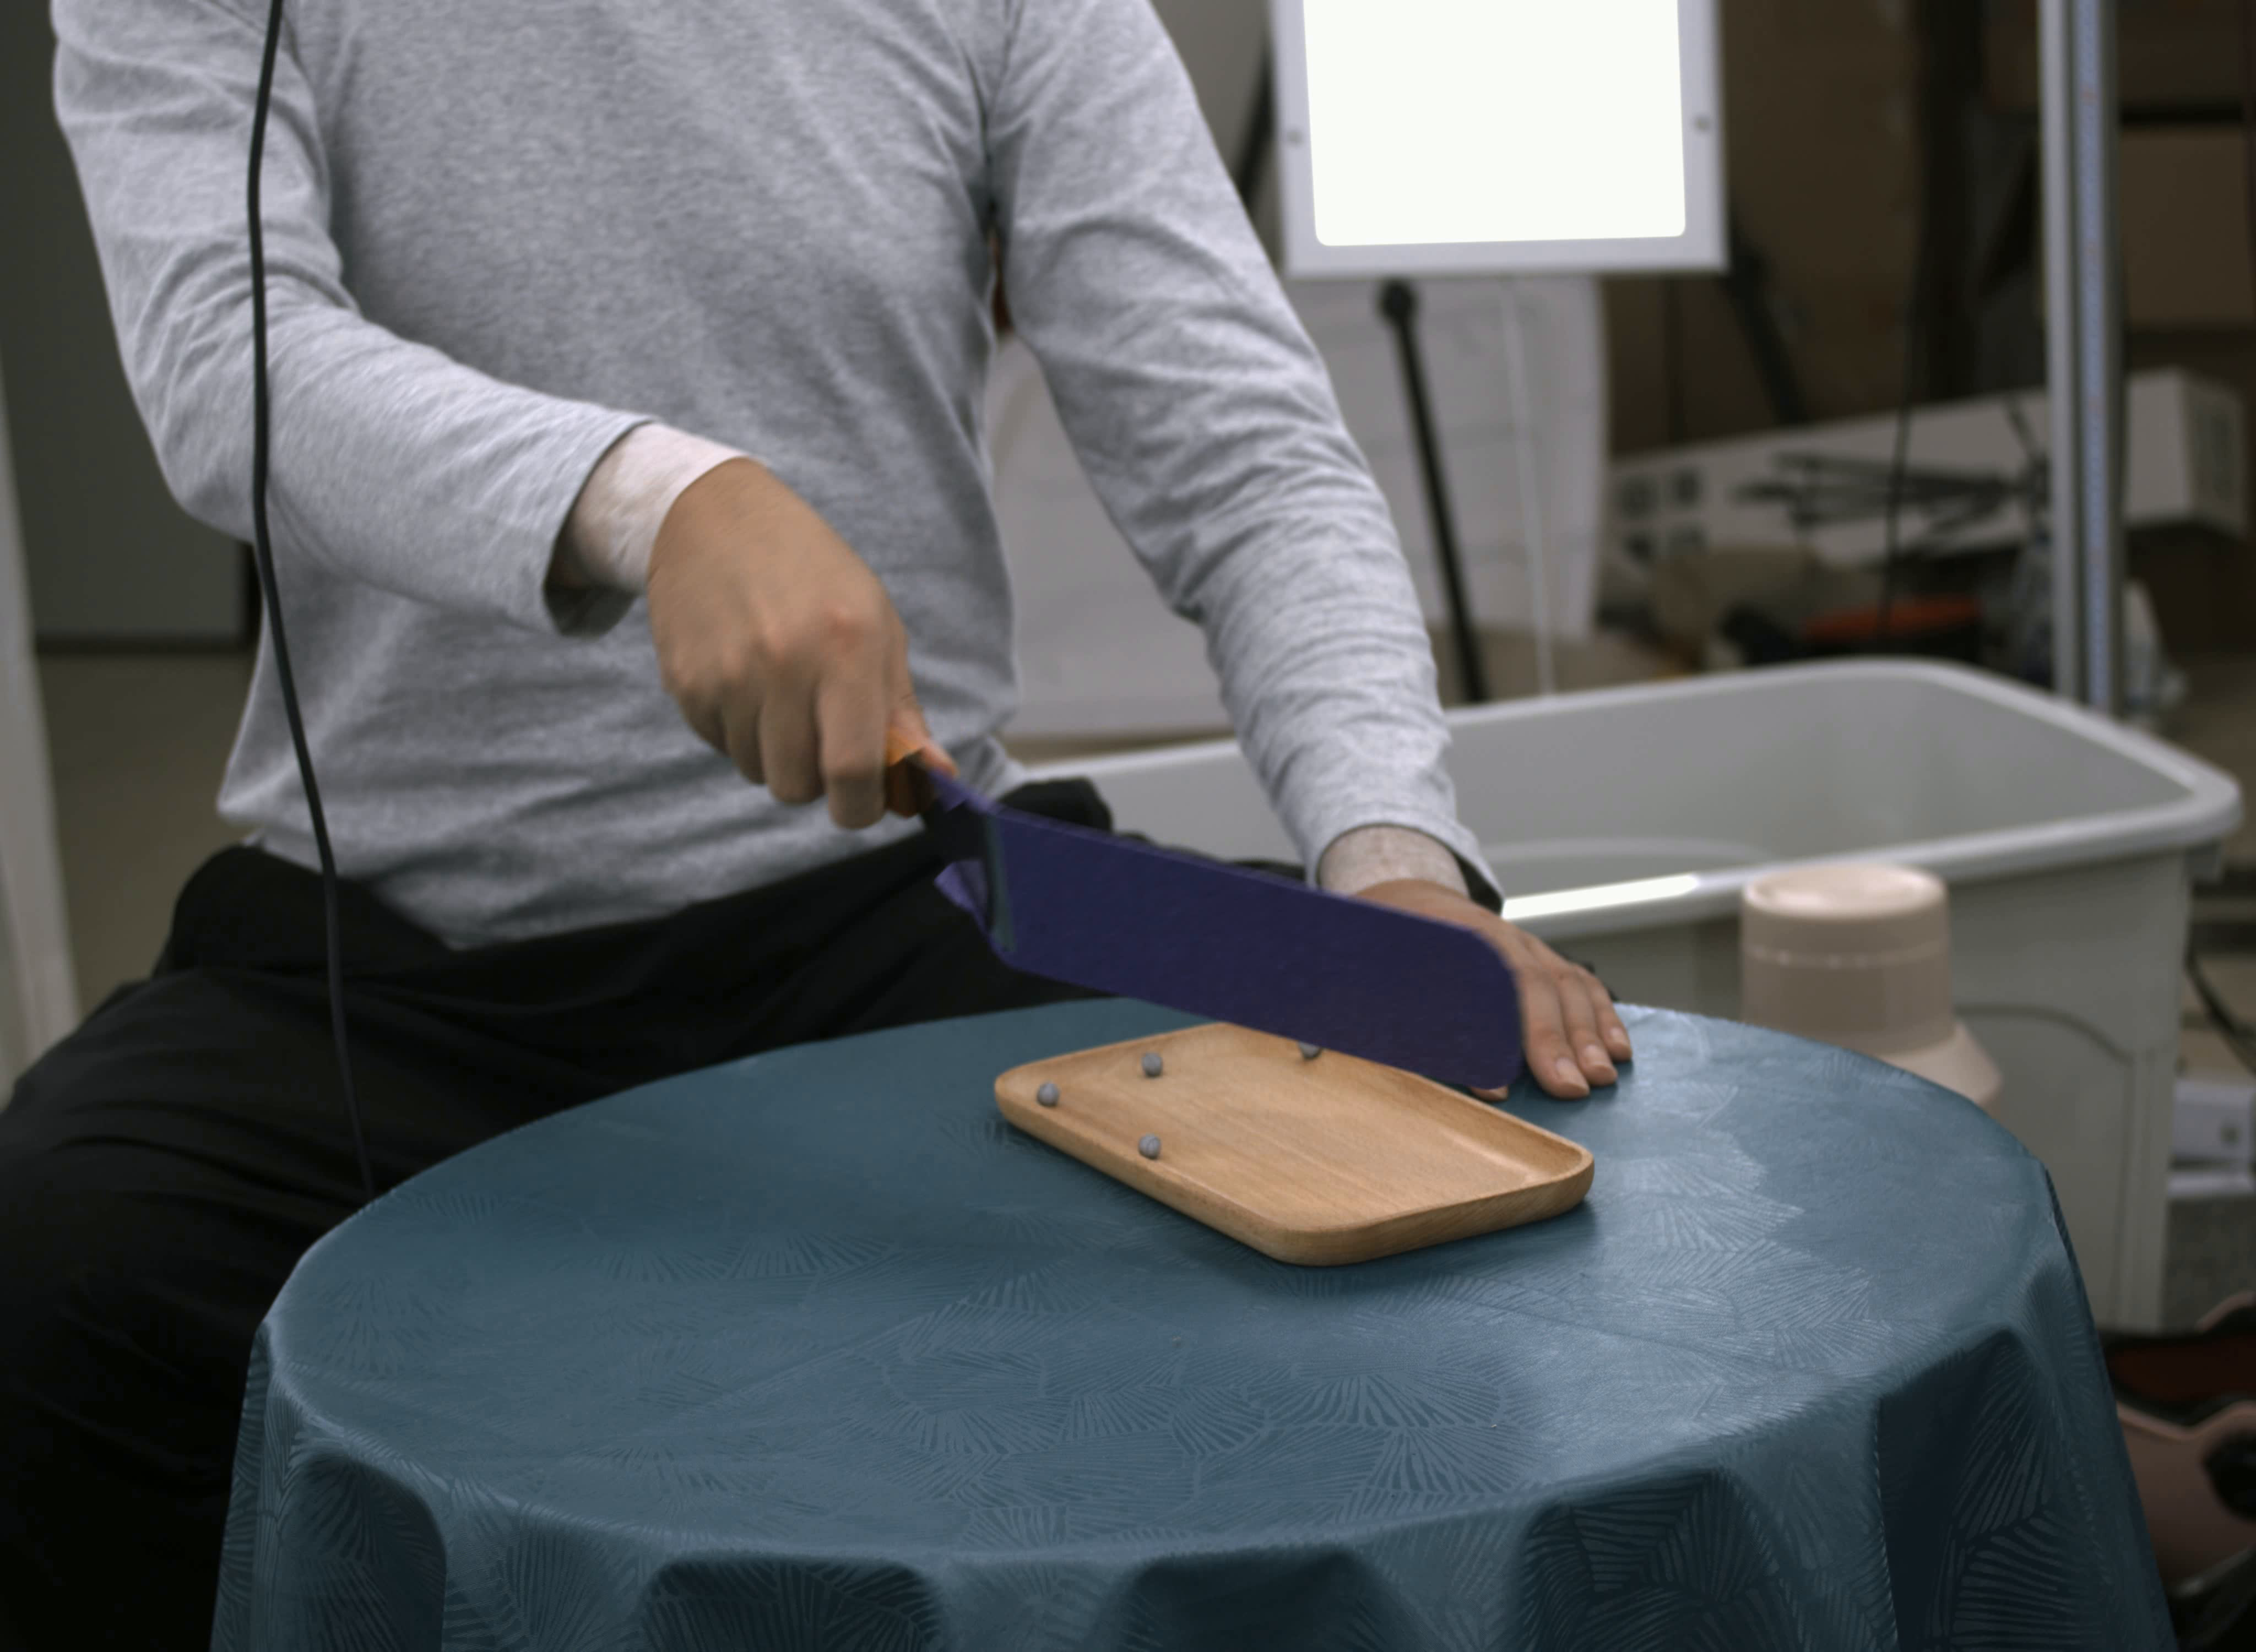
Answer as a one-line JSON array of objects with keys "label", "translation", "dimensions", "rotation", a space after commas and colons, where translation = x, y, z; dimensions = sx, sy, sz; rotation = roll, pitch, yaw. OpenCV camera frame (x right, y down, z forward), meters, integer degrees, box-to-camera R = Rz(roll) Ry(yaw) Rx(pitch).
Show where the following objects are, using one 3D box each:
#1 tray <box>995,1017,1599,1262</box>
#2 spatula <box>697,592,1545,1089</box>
[{"label": "tray", "translation": [0.056, 0.107, 1.919], "dimensions": [0.128, 0.023, 0.255], "rotation": [-15, 17, -23]}, {"label": "spatula", "translation": [-0.010, -0.003, 1.879], "dimensions": [0.085, 0.076, 0.365], "rotation": [-28, 44, -27]}]
